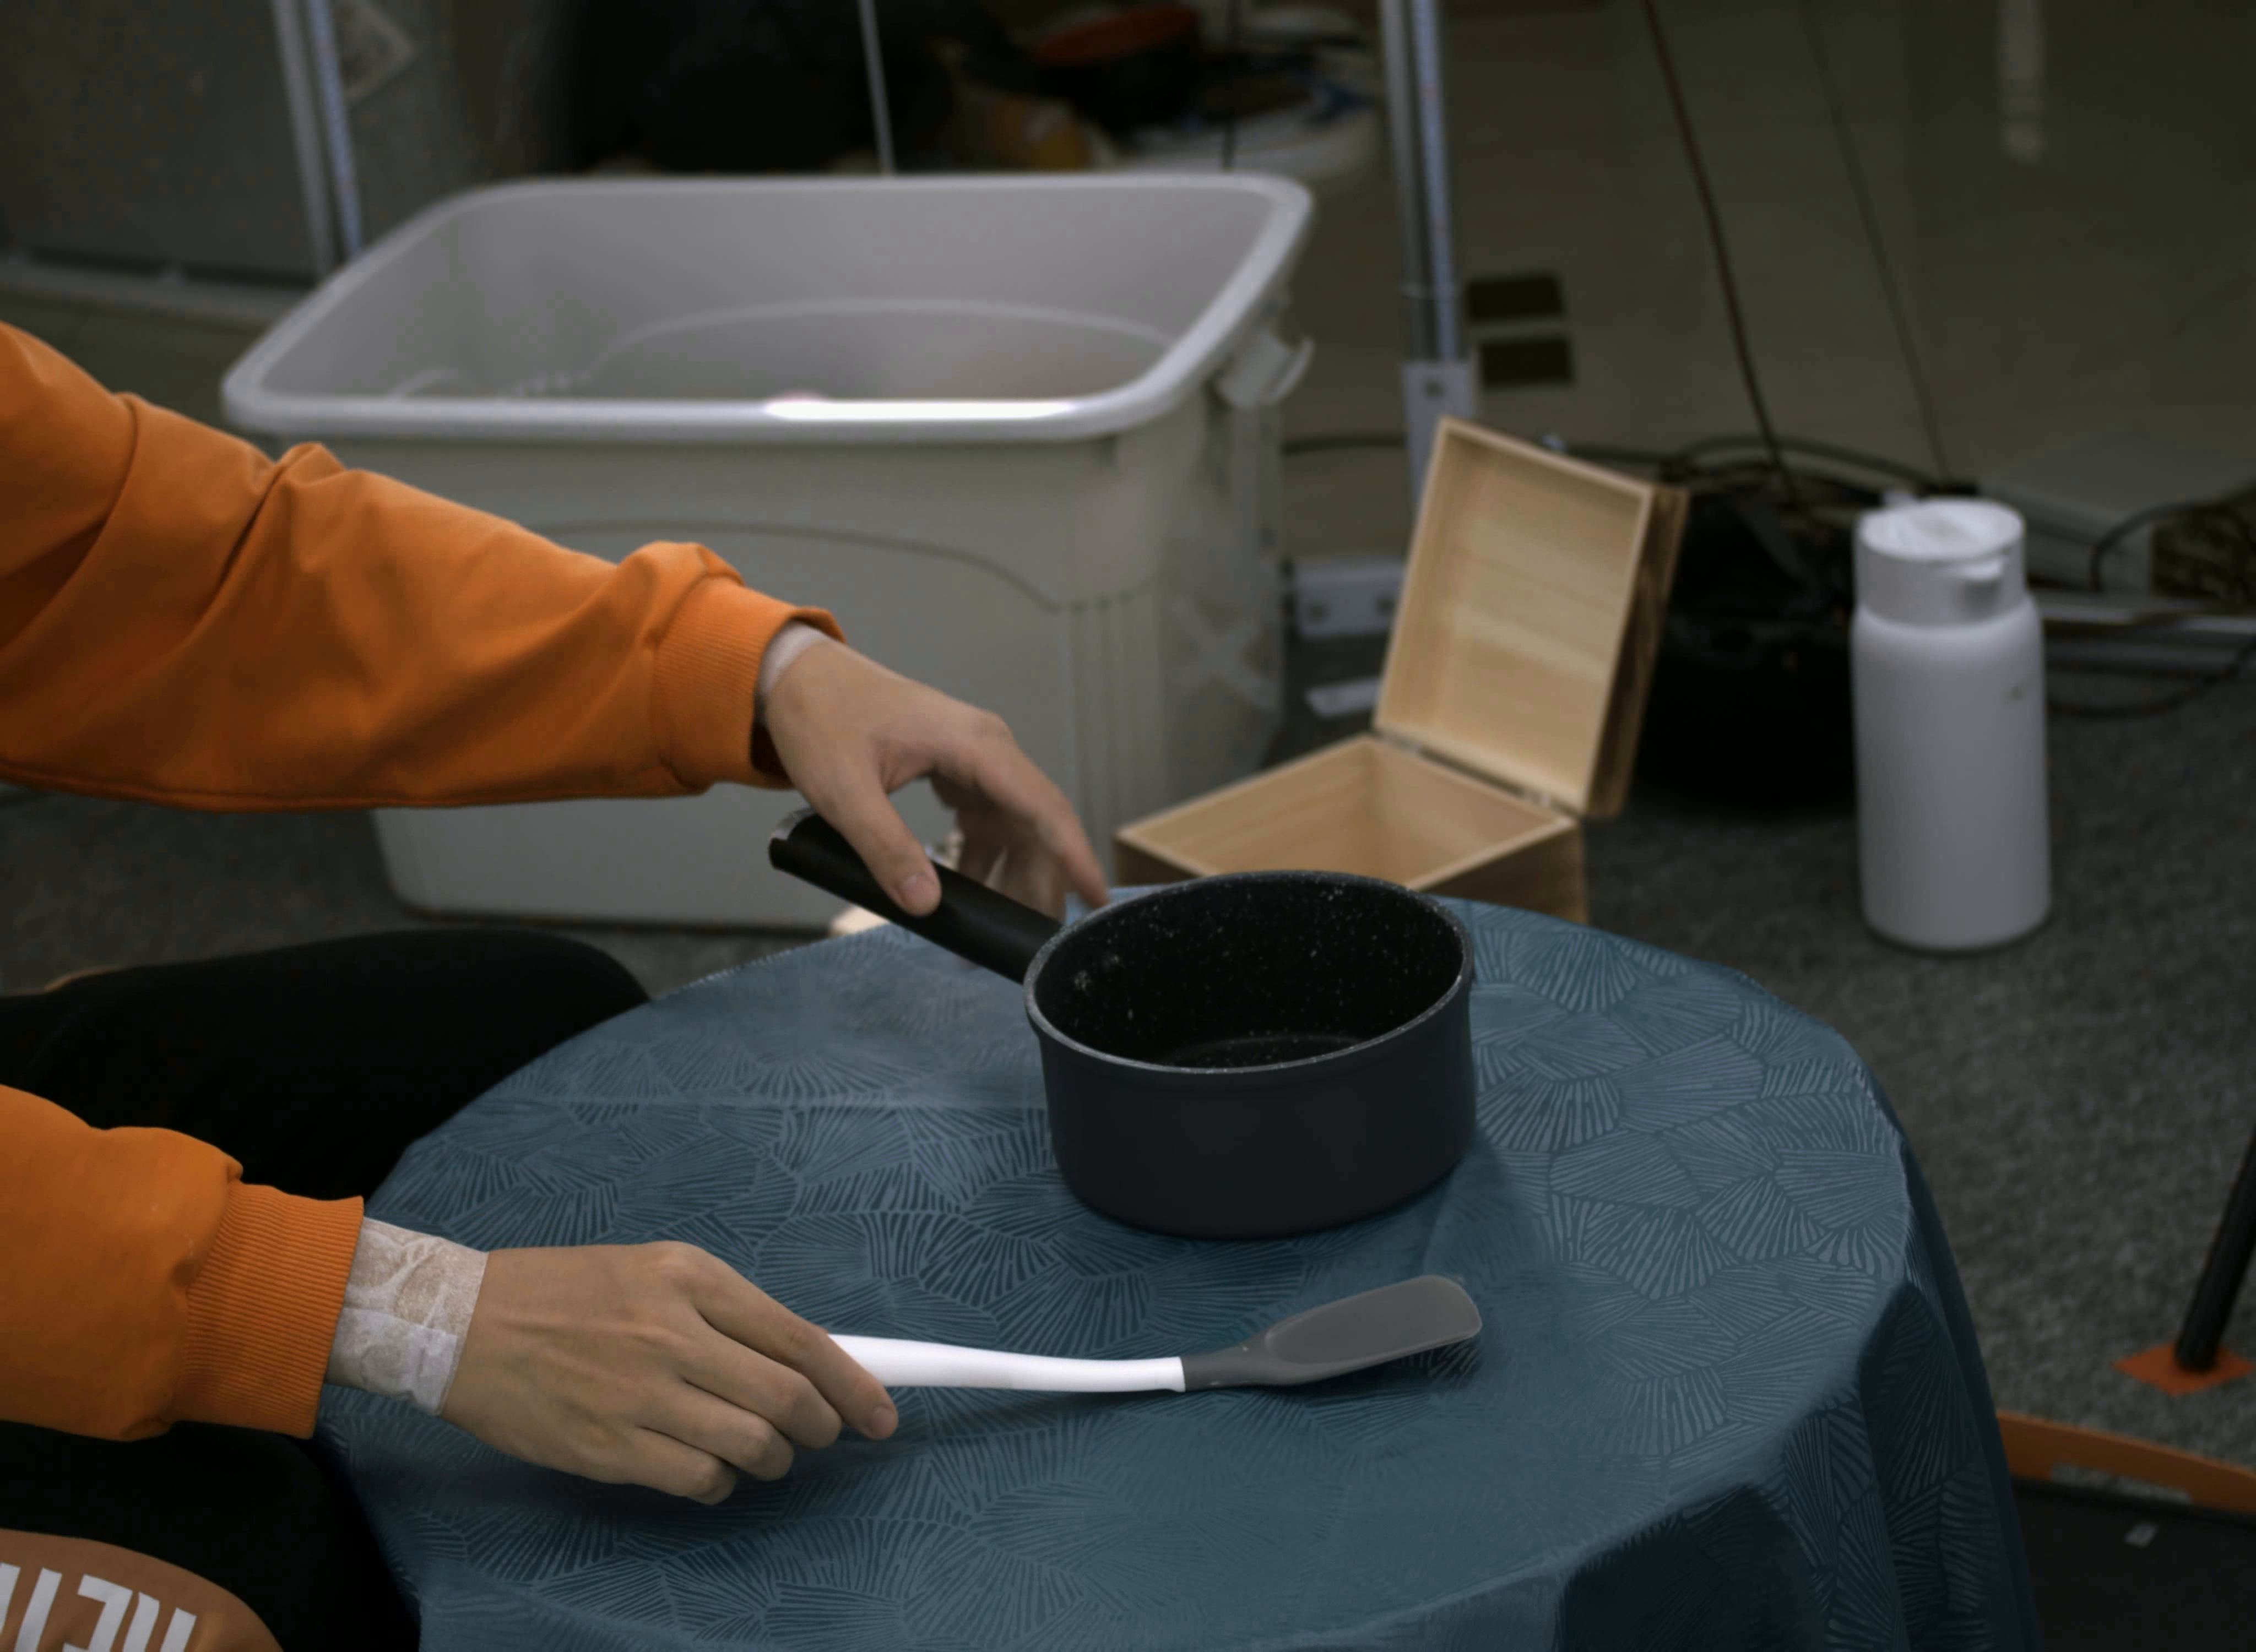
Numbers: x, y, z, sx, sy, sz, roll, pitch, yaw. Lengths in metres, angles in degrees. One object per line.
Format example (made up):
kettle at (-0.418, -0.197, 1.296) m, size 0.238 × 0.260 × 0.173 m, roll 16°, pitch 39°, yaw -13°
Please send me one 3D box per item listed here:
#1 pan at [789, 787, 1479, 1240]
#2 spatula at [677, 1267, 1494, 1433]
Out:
pan at (-0.009, 0.066, 2.204) m, size 0.326 × 0.088 × 0.170 m, roll 19°, pitch 35°, yaw 40°
spatula at (-0.015, 0.186, 2.003) m, size 0.287 × 0.032 × 0.058 m, roll -4°, pitch 19°, yaw -6°
